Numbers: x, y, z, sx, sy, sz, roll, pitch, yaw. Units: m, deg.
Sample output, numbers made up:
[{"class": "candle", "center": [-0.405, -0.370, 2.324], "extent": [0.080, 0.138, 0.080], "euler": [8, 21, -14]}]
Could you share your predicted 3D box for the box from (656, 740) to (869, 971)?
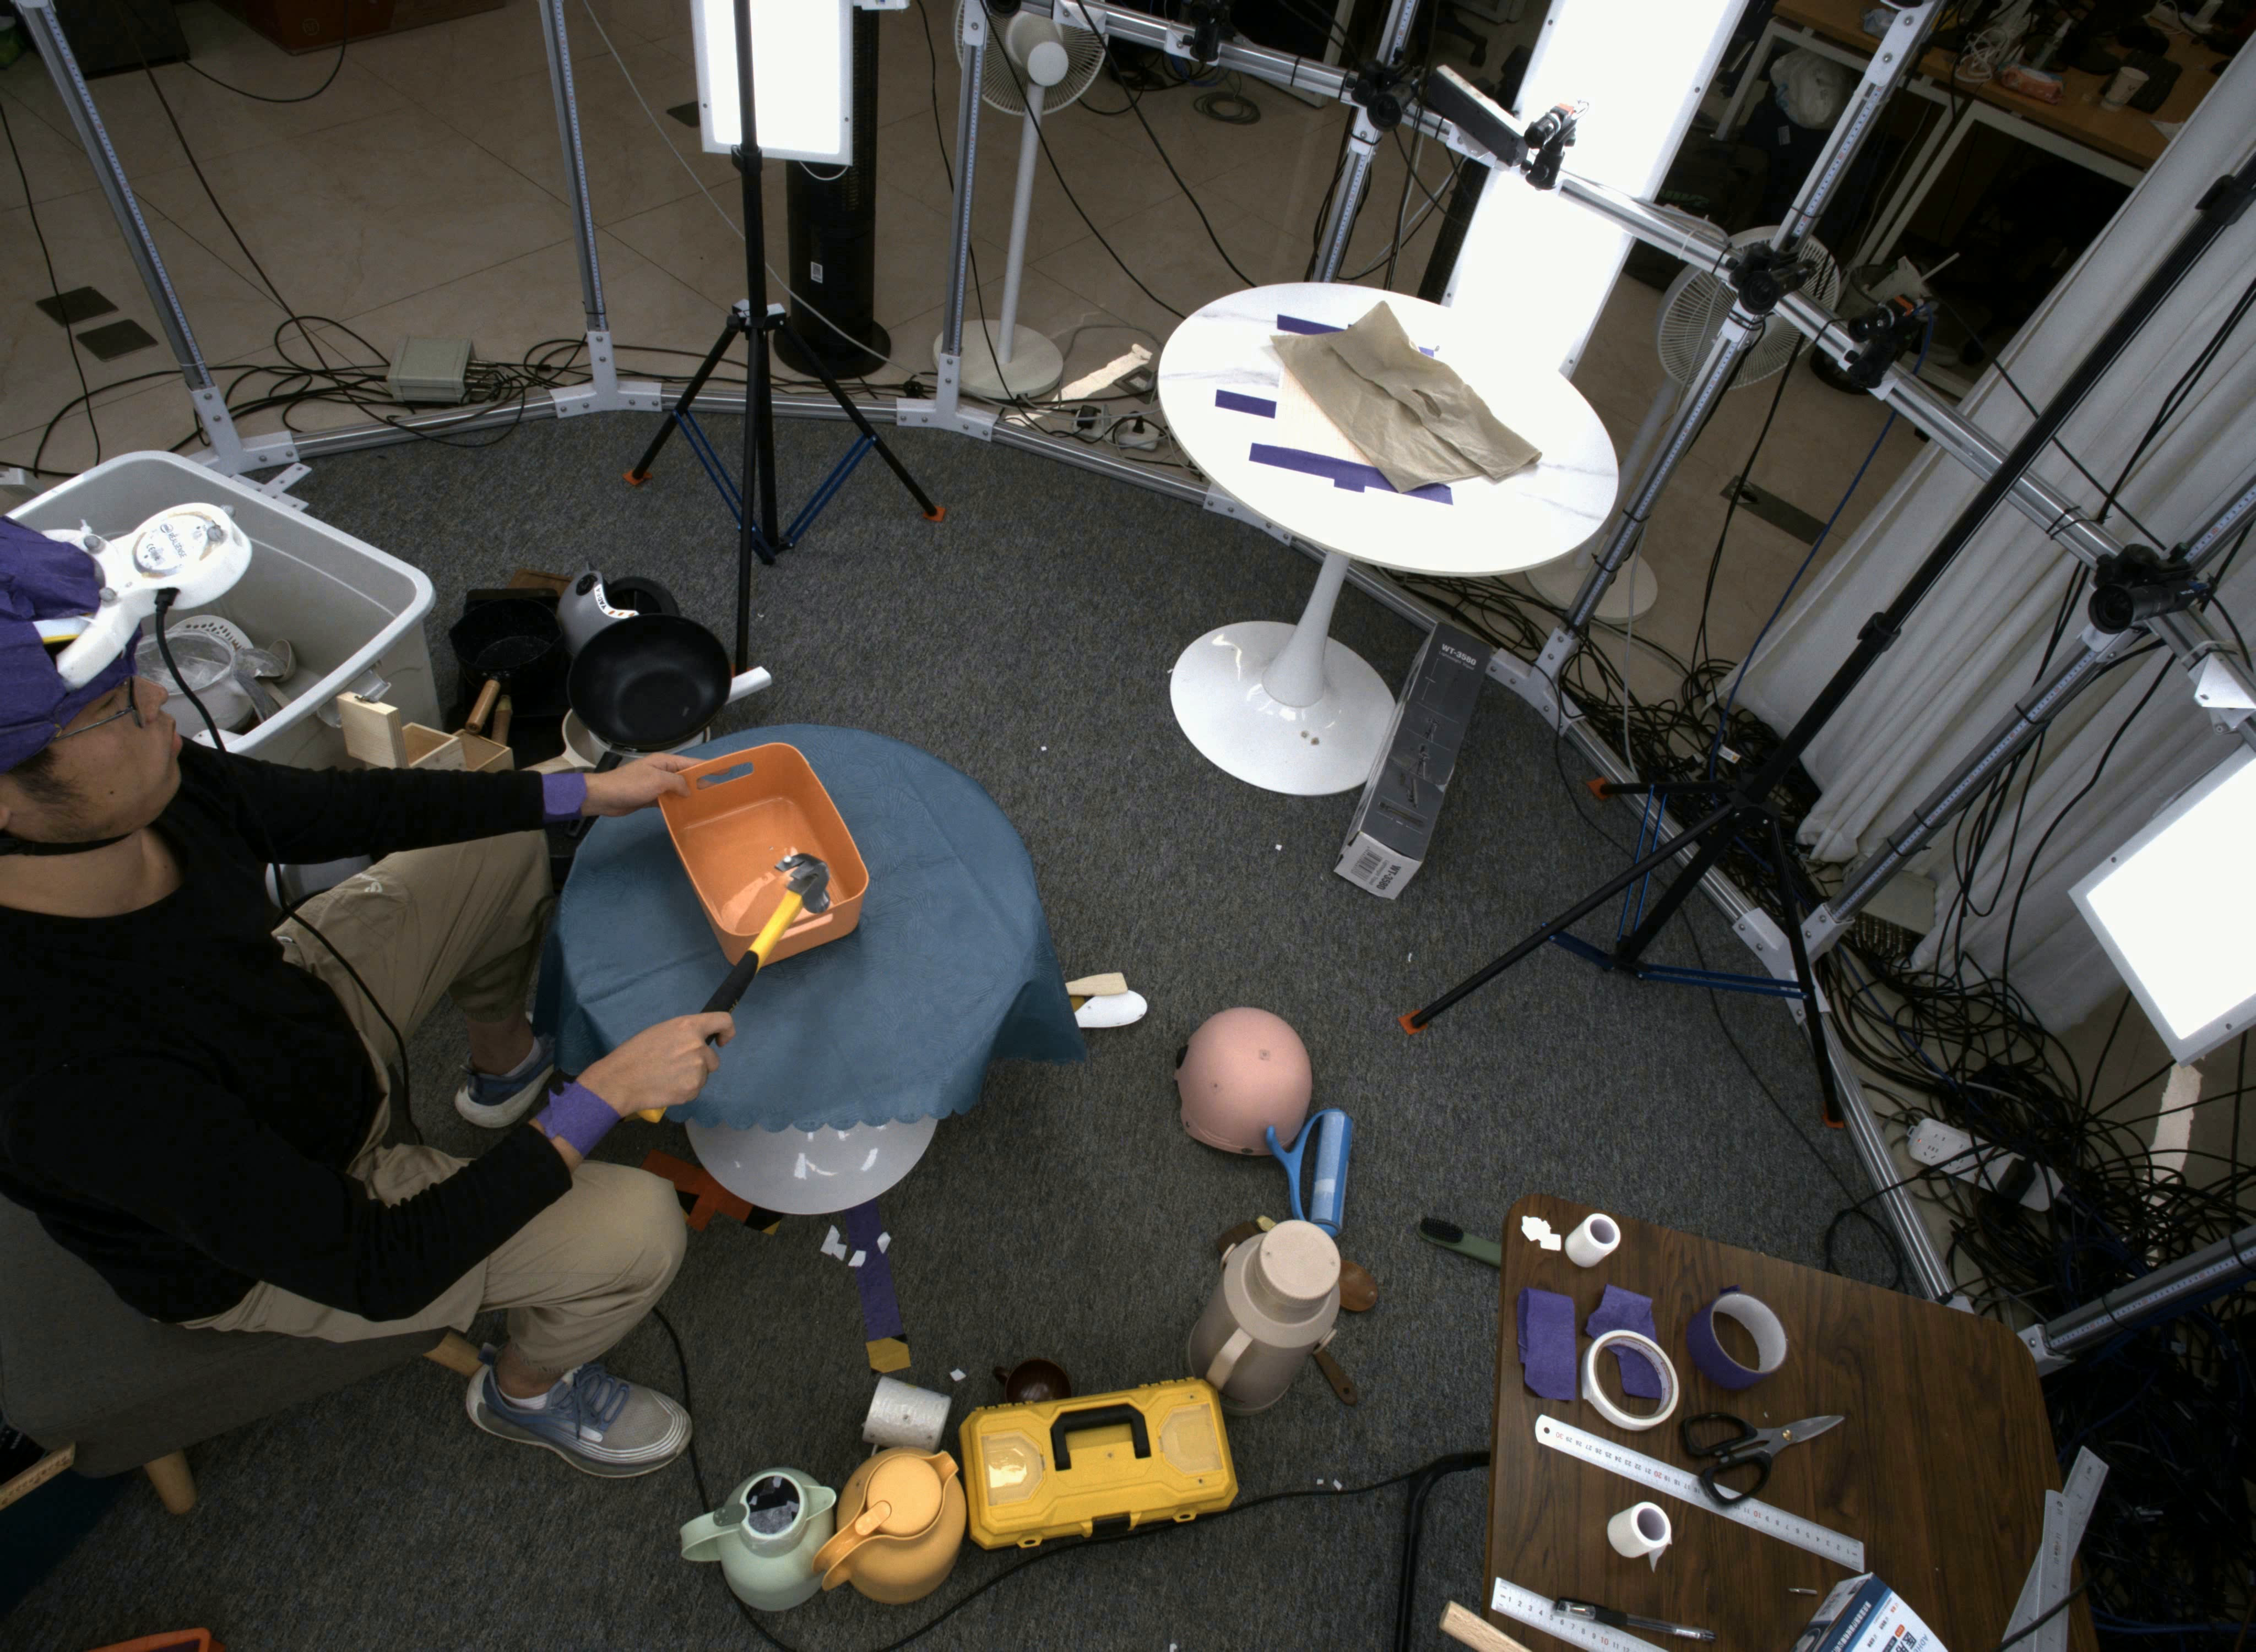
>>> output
[{"class": "box", "center": [-0.457, 0.039, 1.618], "extent": [0.200, 0.105, 0.266], "euler": [-22, 61, -26]}]

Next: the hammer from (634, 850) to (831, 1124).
[{"class": "hammer", "center": [-0.419, 0.163, 1.371], "extent": [0.032, 0.134, 0.337], "euler": [24, 58, 9]}]
